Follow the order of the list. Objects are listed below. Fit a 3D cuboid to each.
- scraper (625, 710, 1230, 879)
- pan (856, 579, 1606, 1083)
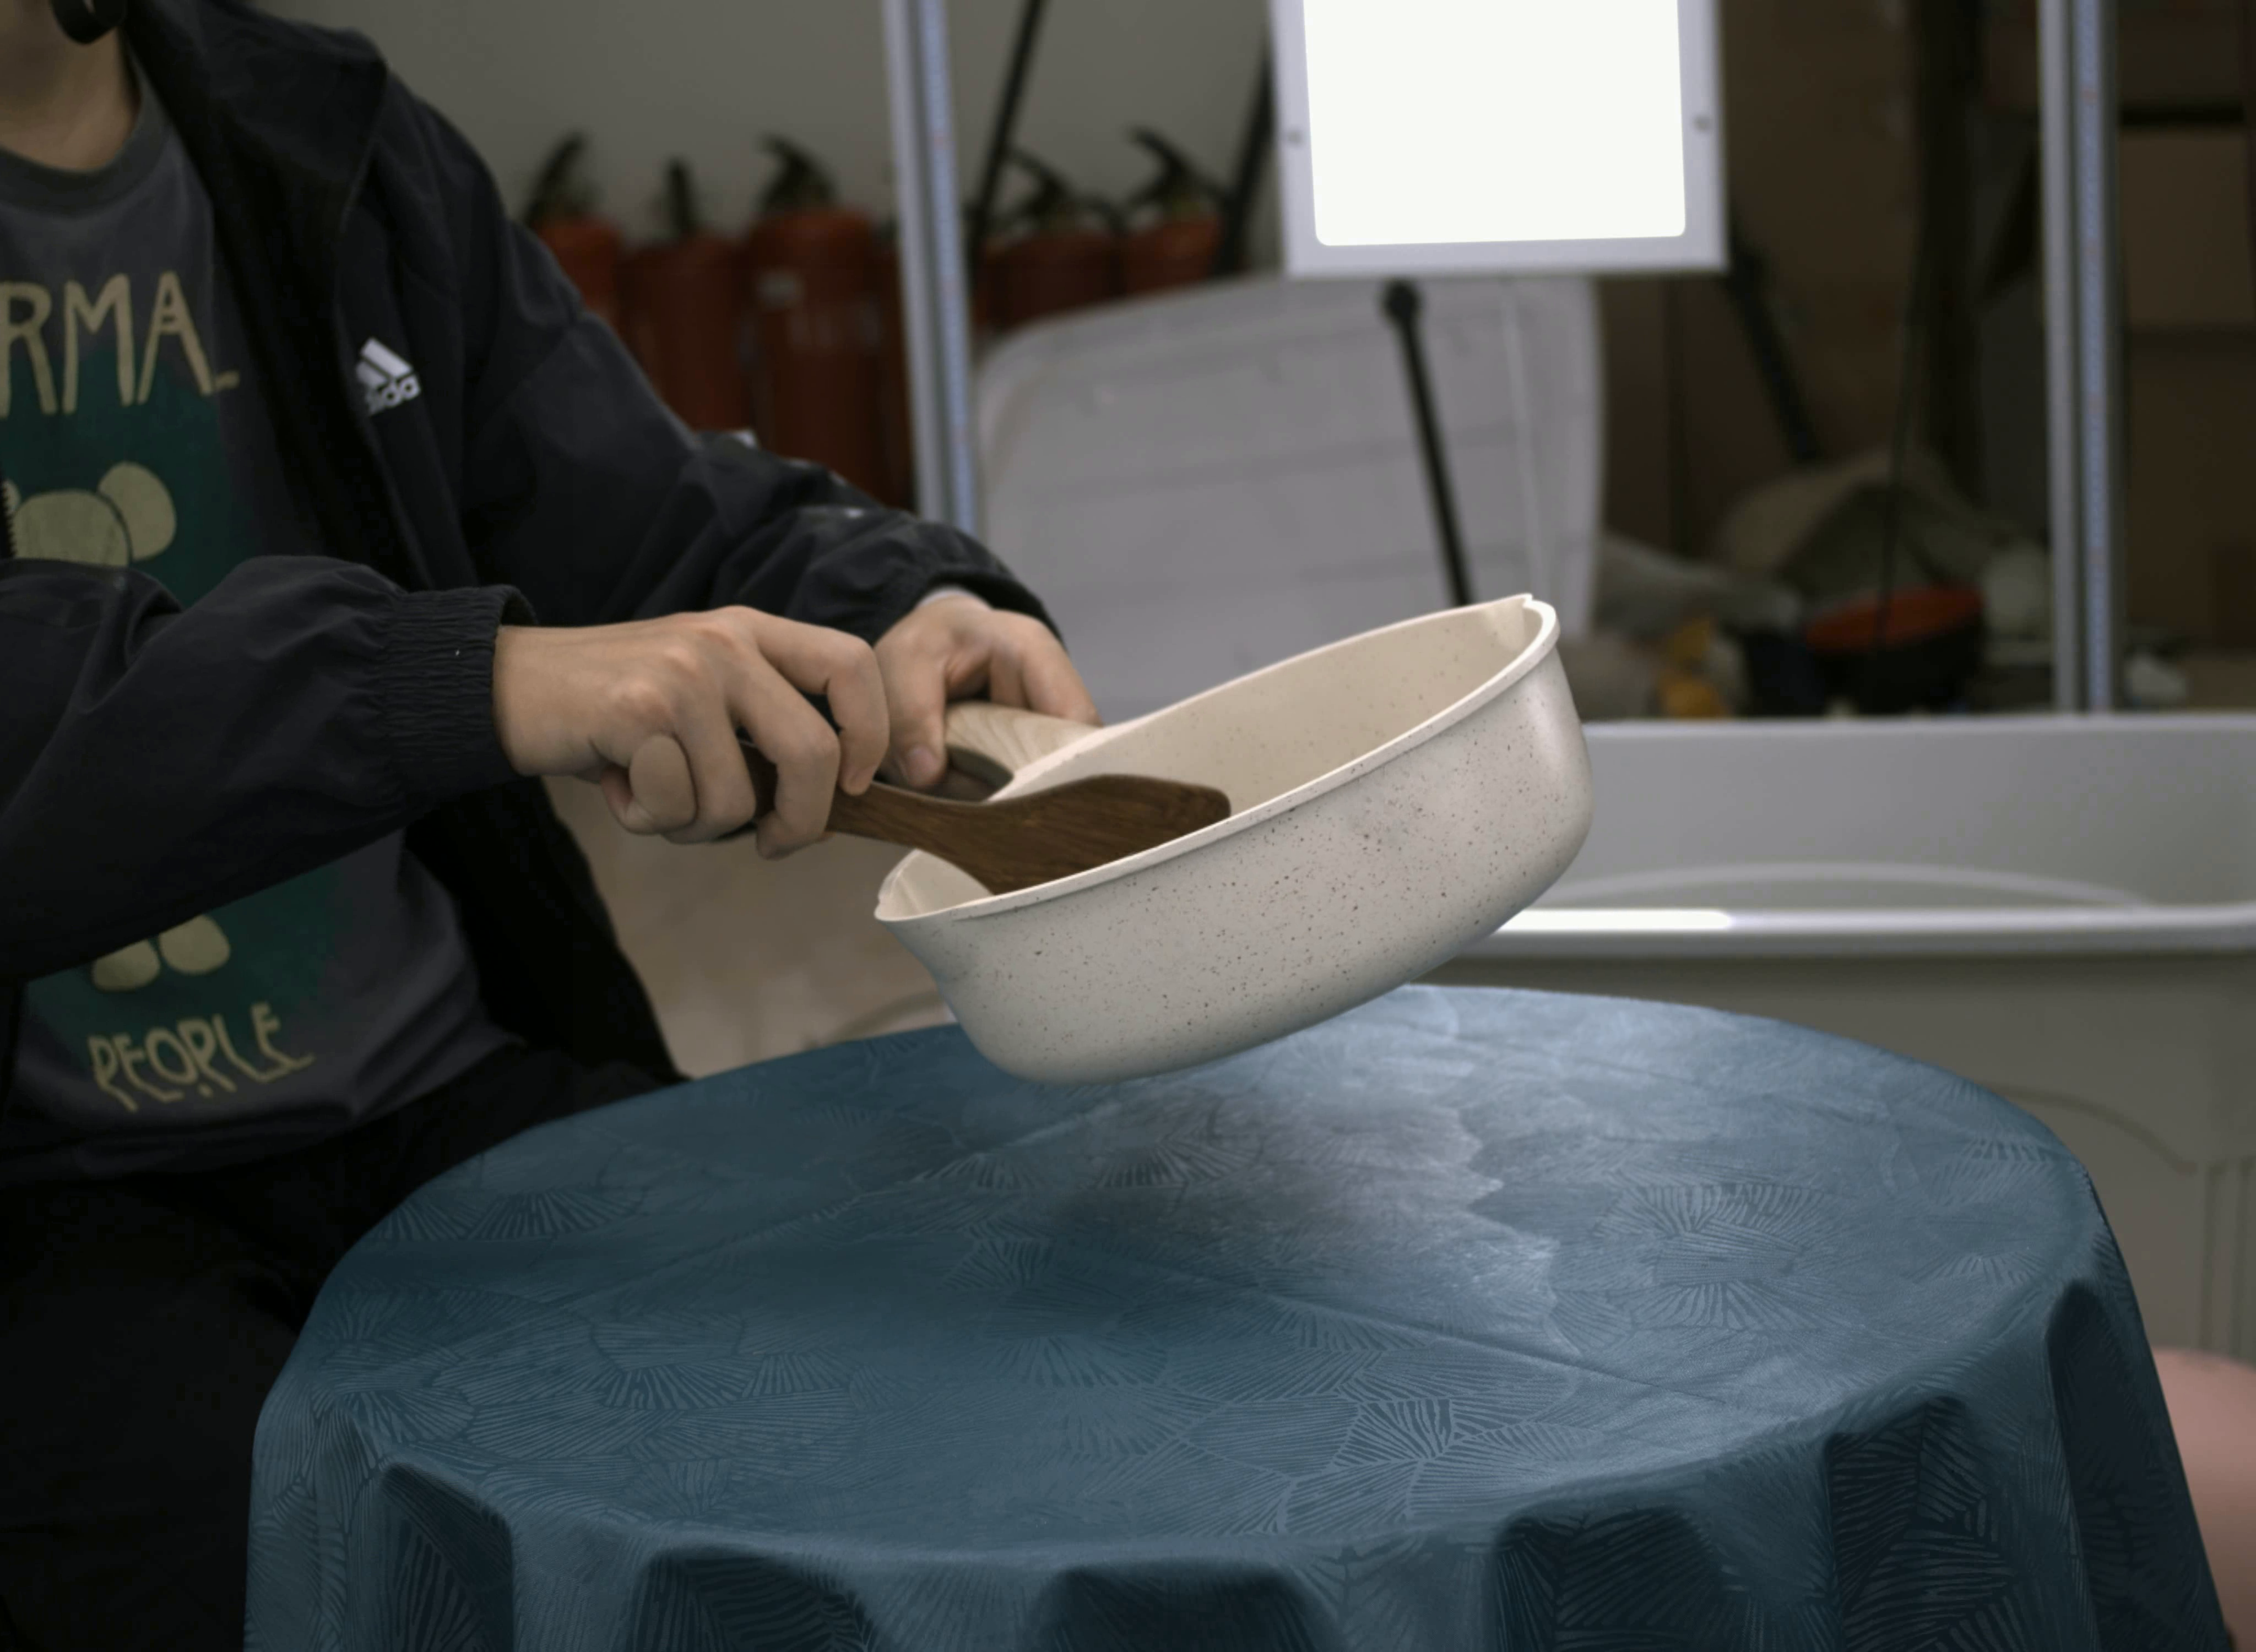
[{"bbox_3d":[-0.069,-0.003,1.896,0.209,0.076,0.011,14,19,-9],"label":"scraper"},{"bbox_3d":[0.010,0.001,1.963,0.259,0.102,0.442,-29,11,-20],"label":"pan"}]
